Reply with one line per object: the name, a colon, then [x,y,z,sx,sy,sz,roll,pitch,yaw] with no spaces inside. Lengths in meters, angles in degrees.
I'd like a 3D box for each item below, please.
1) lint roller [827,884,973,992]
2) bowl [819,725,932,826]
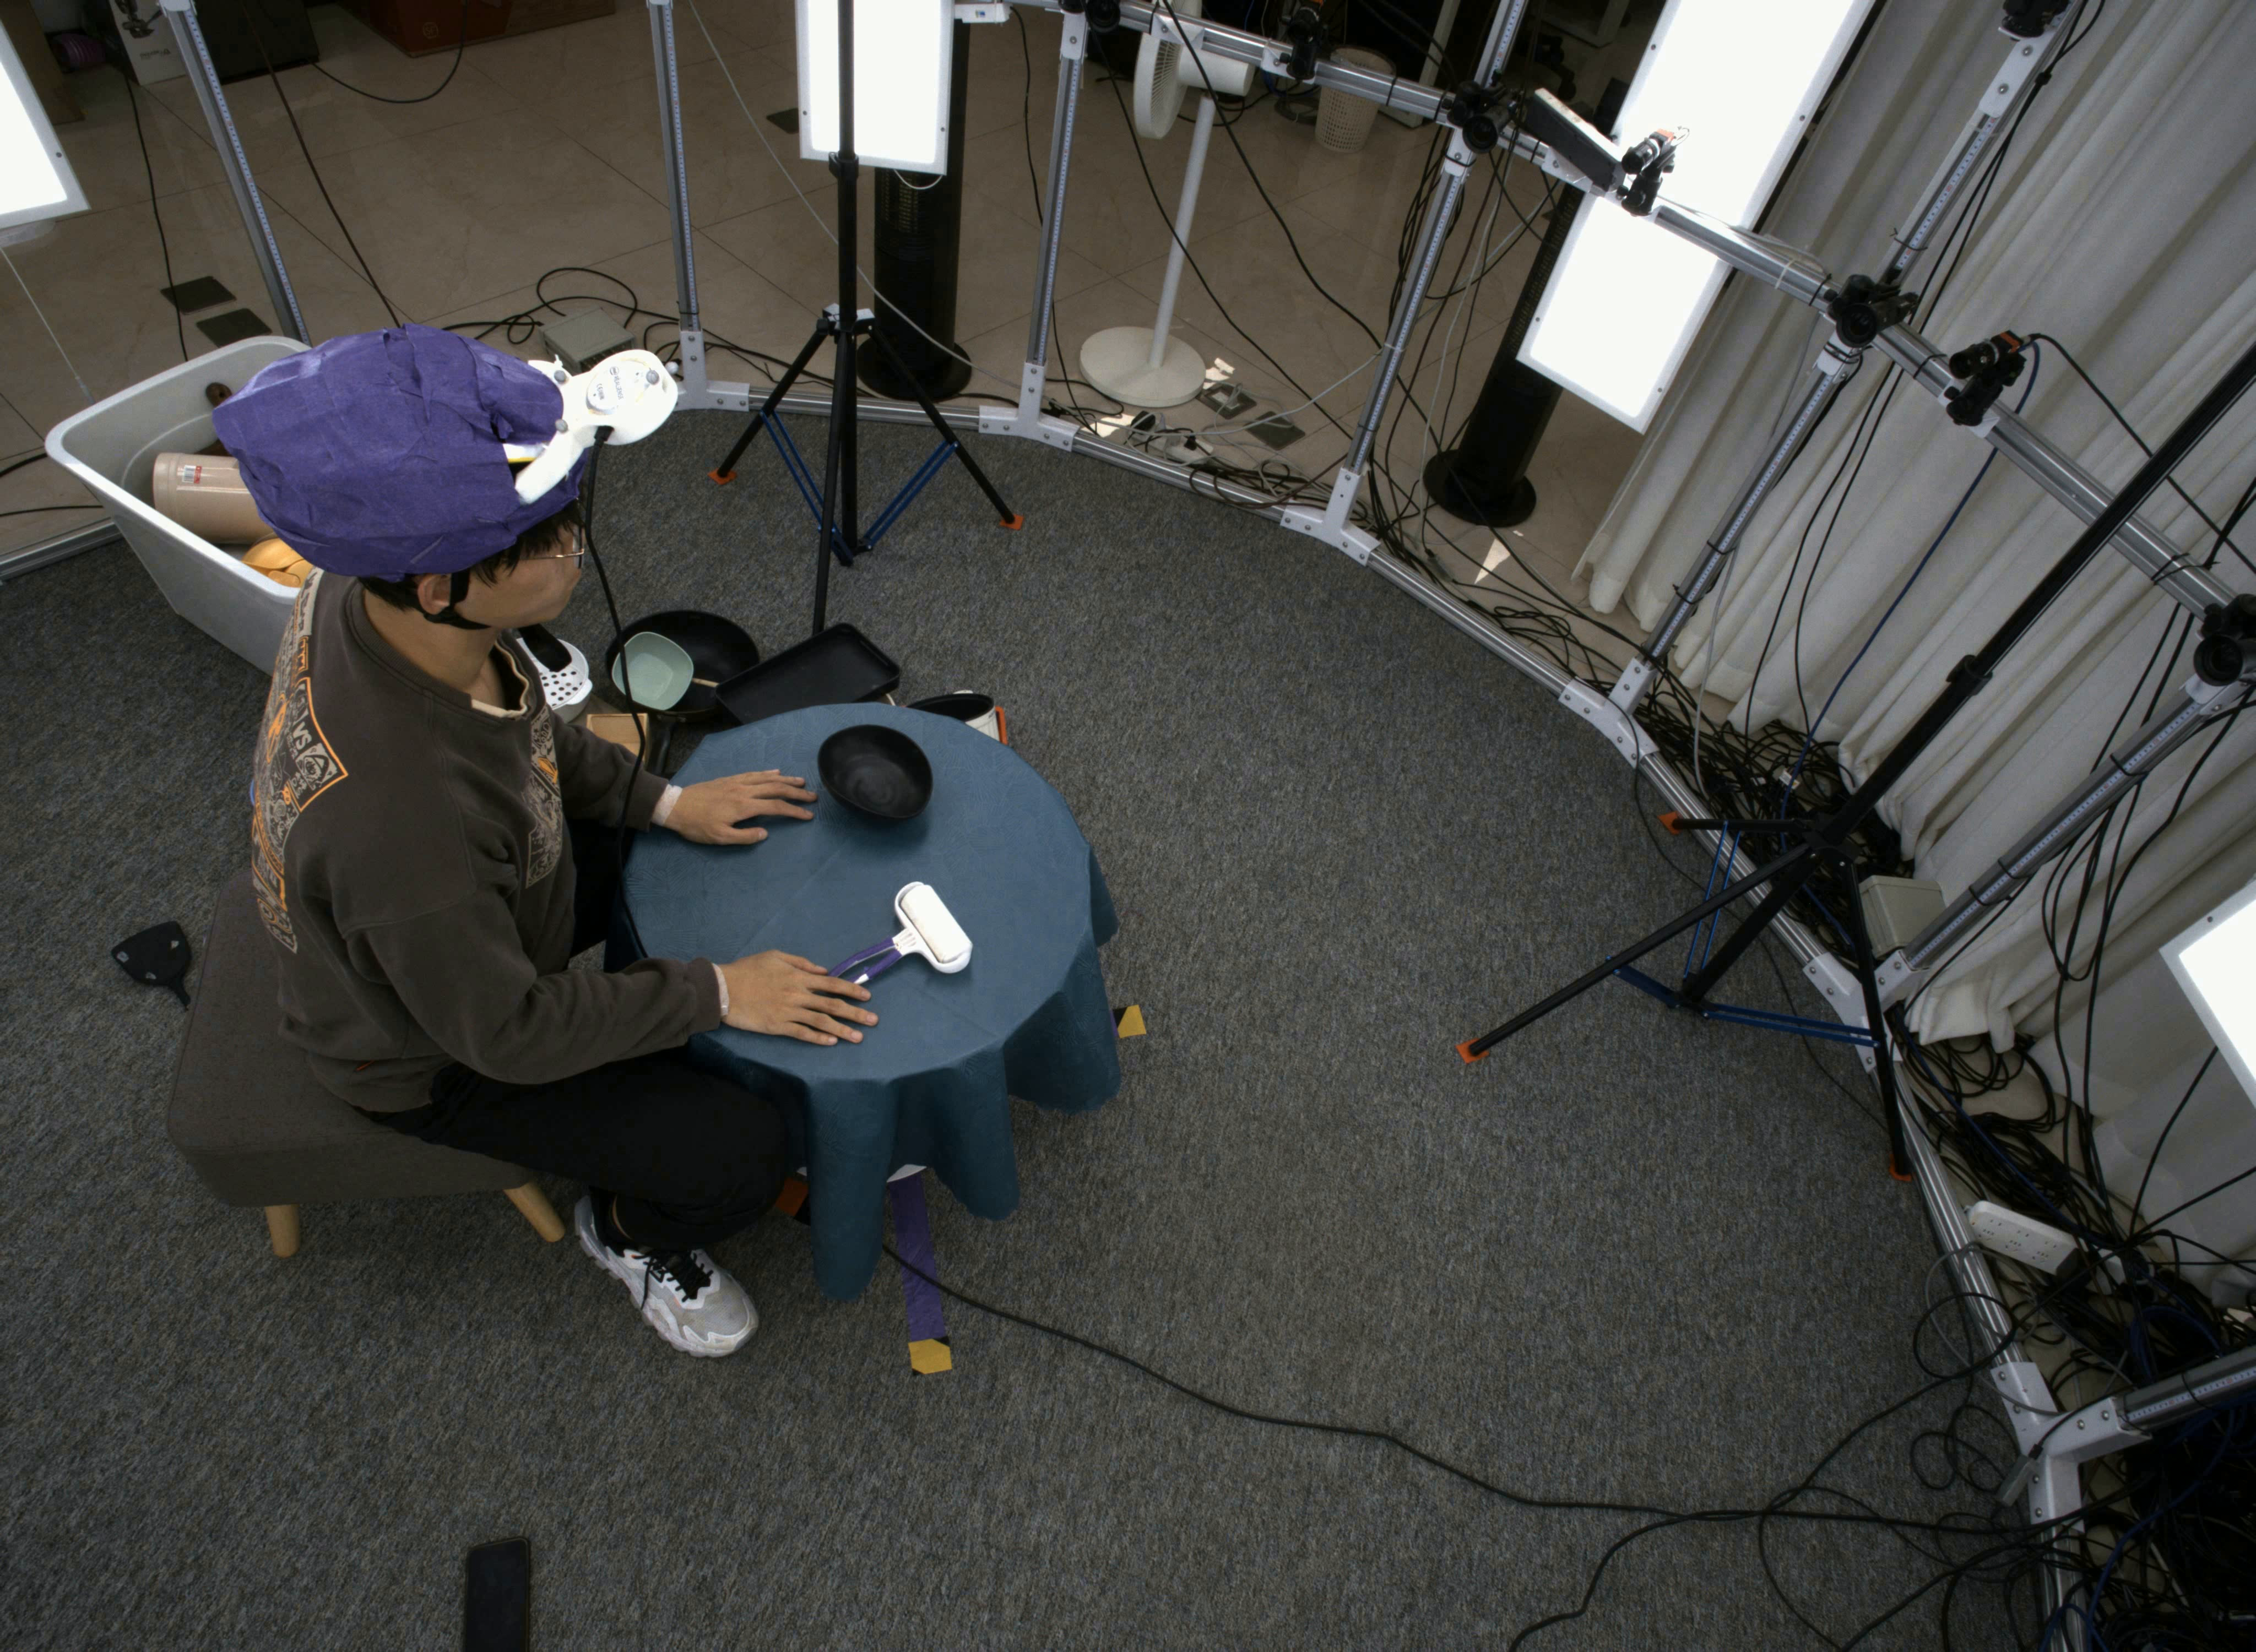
lint roller: [-0.296,0.149,1.629,0.182,0.051,0.130,-23,62,-30]
bowl: [-0.341,-0.059,1.762,0.167,0.068,0.137,38,56,13]
